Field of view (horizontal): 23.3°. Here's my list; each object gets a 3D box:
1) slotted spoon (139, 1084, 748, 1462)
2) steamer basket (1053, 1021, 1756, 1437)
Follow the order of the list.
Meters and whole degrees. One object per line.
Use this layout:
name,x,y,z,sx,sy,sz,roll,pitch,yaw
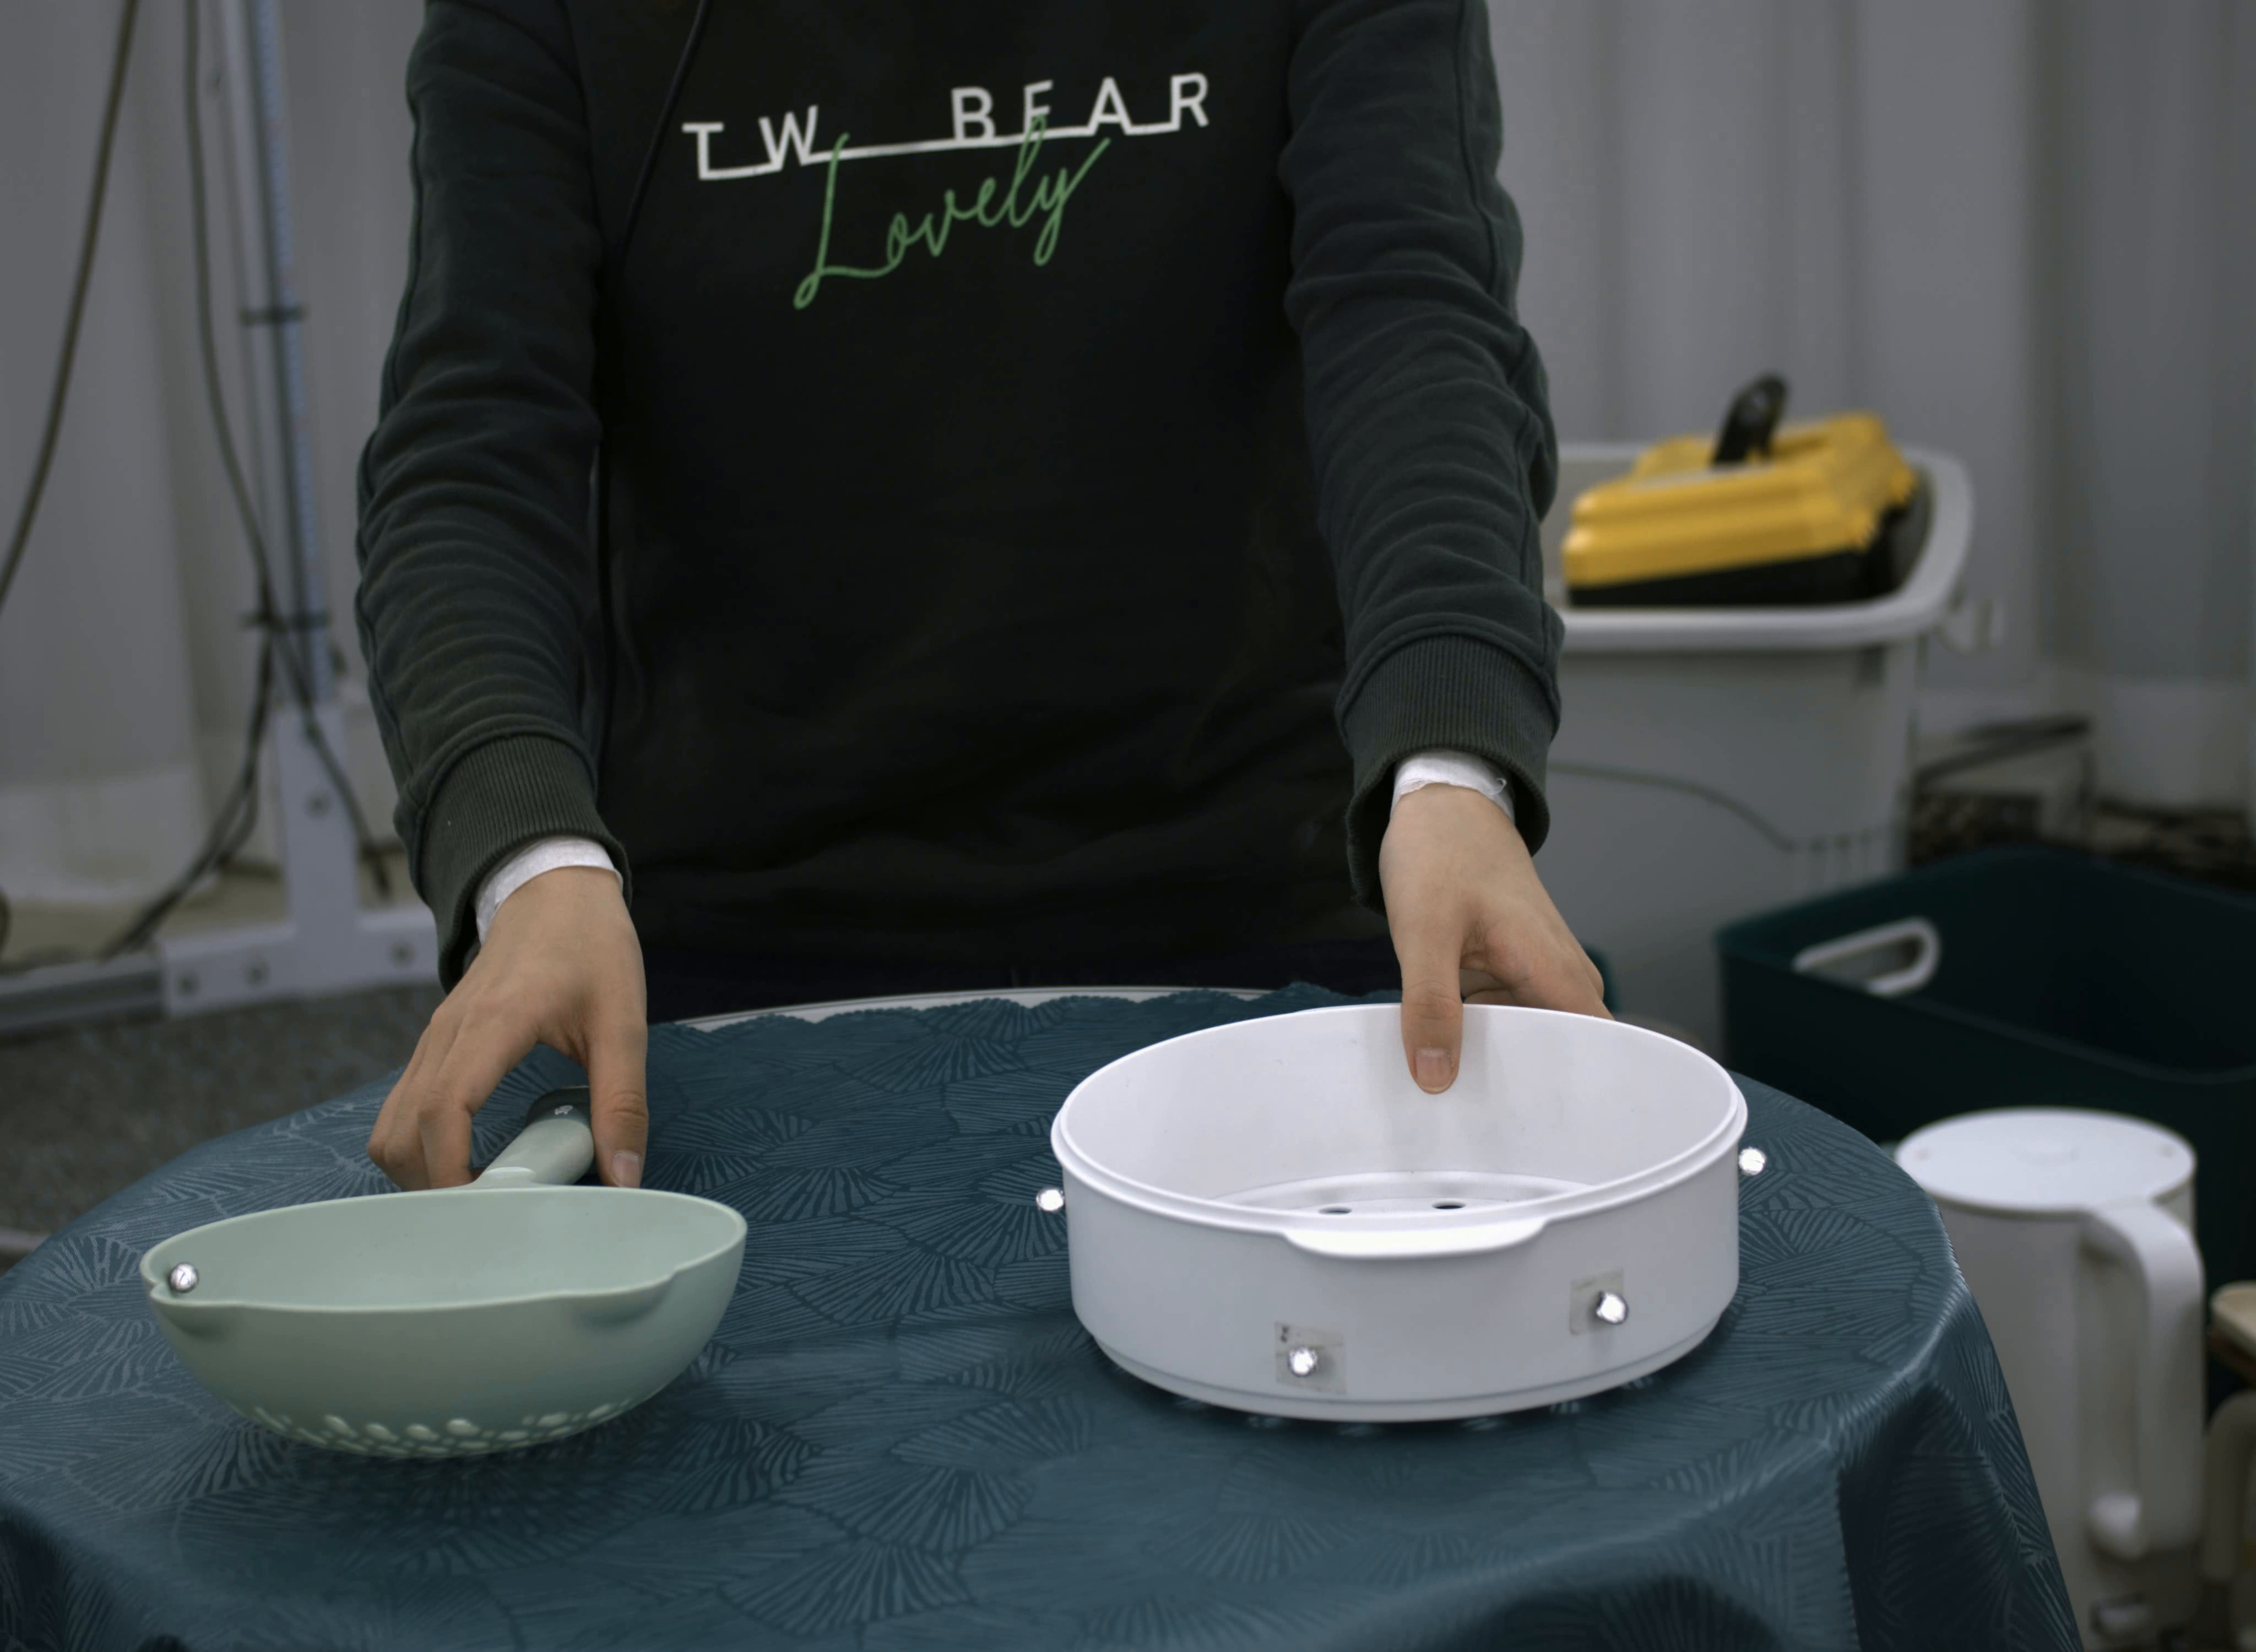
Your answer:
slotted spoon,-0.183,0.116,1.618,0.169,0.075,0.361,-1,15,4
steamer basket,0.080,0.115,1.575,0.201,0.069,0.232,-2,14,0
